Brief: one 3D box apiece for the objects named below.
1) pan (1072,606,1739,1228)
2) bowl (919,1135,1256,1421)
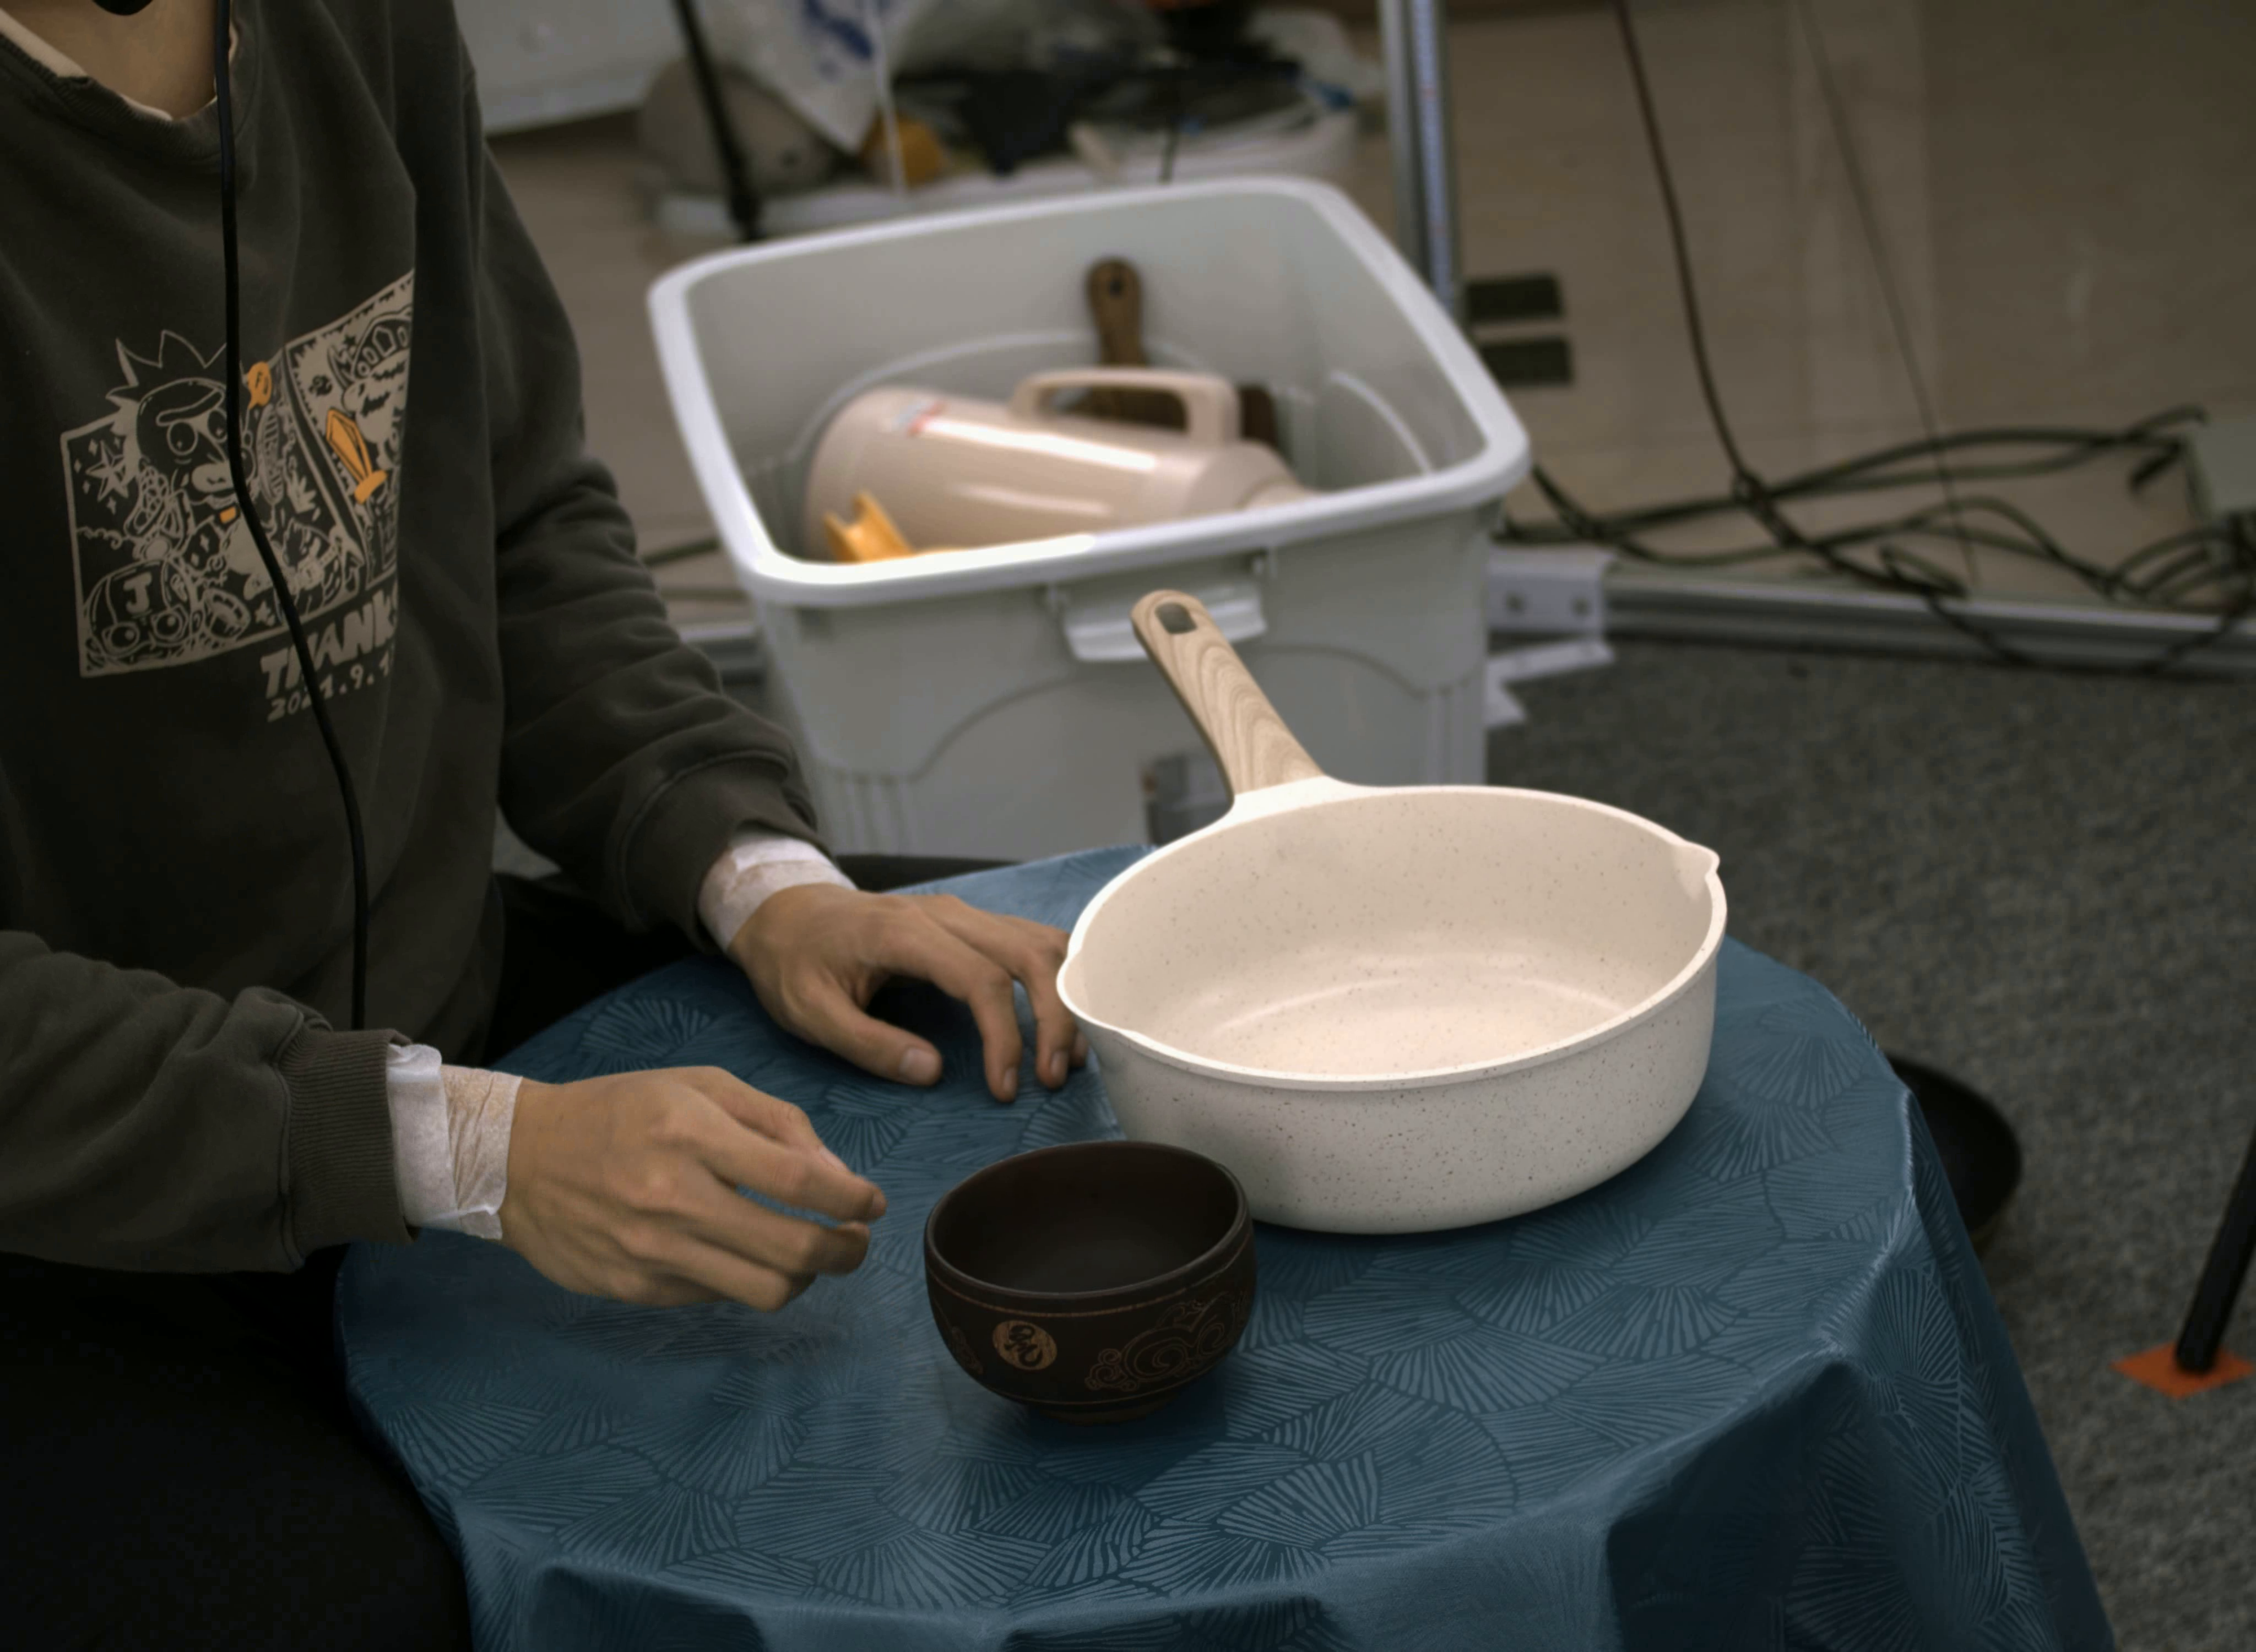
[{"bbox_3d":[0.083,0.031,2.240,0.262,0.103,0.429,-14,26,-12],"label":"pan"},{"bbox_3d":[-0.012,0.166,2.005,0.118,0.071,0.116,-7,26,3],"label":"bowl"}]
